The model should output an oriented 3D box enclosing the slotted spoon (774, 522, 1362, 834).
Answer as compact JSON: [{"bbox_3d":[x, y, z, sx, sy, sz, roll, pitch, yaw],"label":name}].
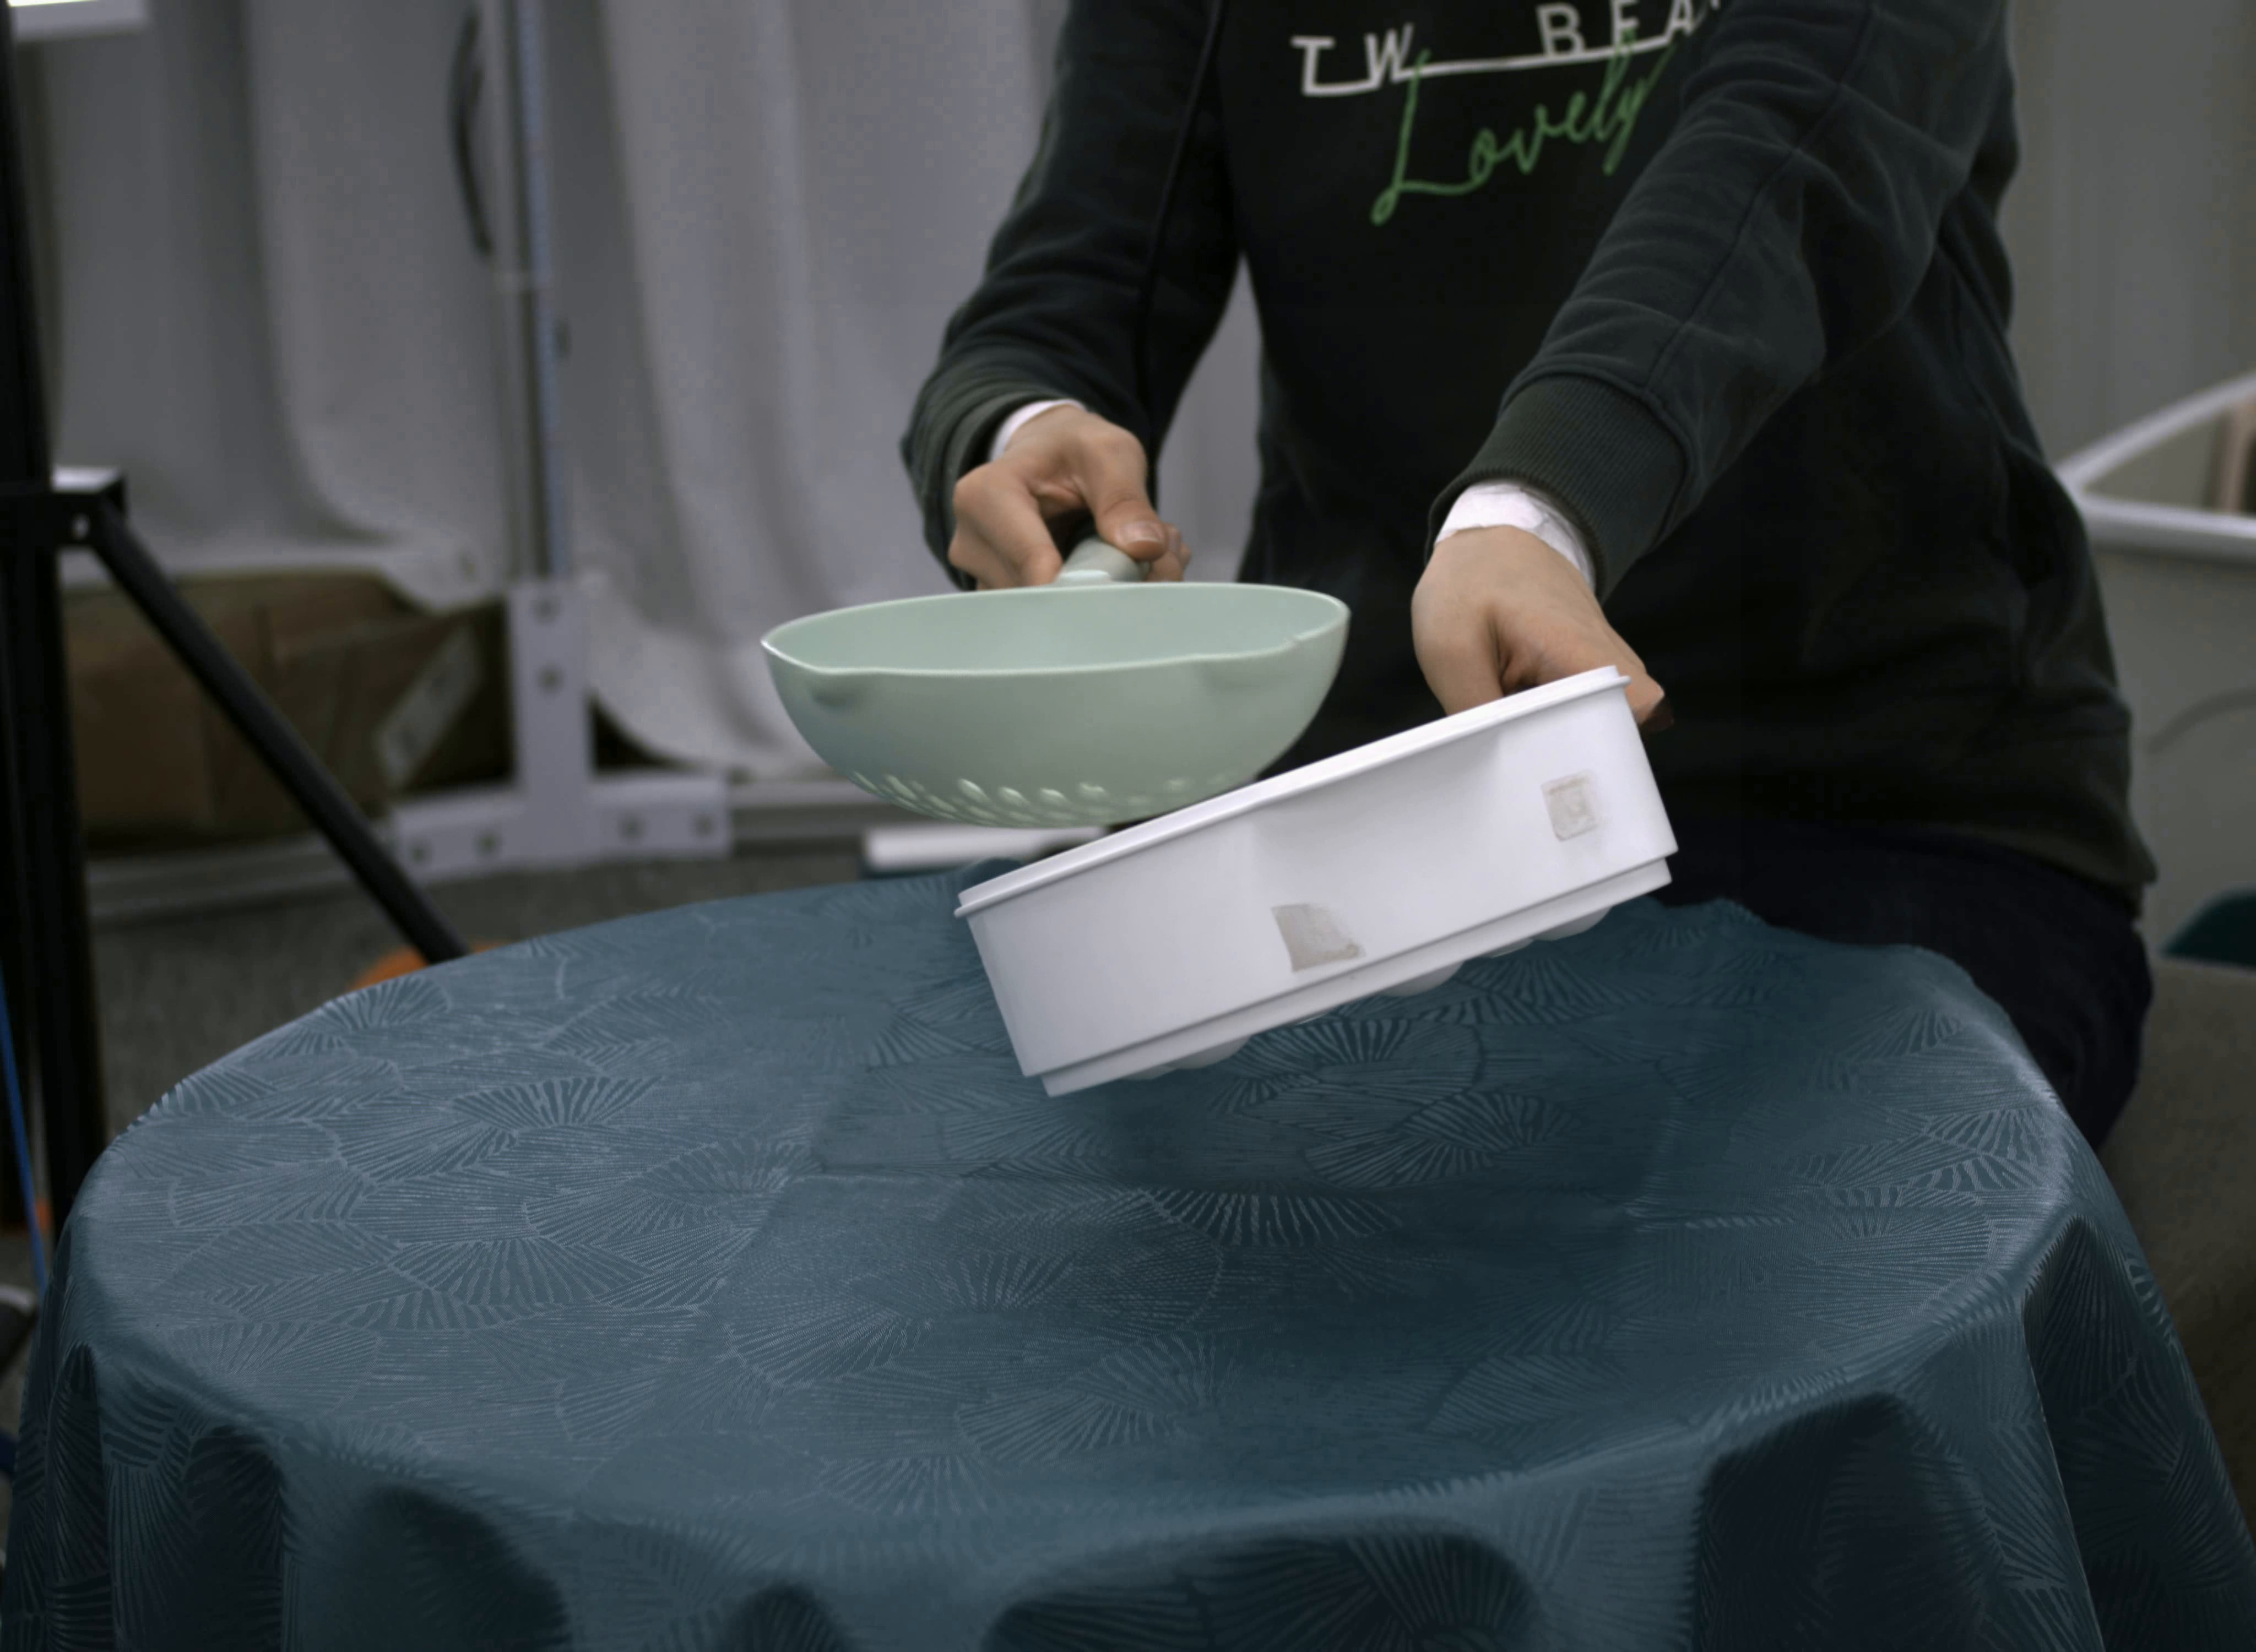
[{"bbox_3d":[-0.010,-0.061,1.618,0.169,0.075,0.359,-2,18,5],"label":"slotted spoon"}]

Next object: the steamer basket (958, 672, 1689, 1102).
[{"bbox_3d":[0.057,0.020,1.474,0.199,0.069,0.232,-18,-2,-14],"label":"steamer basket"}]
